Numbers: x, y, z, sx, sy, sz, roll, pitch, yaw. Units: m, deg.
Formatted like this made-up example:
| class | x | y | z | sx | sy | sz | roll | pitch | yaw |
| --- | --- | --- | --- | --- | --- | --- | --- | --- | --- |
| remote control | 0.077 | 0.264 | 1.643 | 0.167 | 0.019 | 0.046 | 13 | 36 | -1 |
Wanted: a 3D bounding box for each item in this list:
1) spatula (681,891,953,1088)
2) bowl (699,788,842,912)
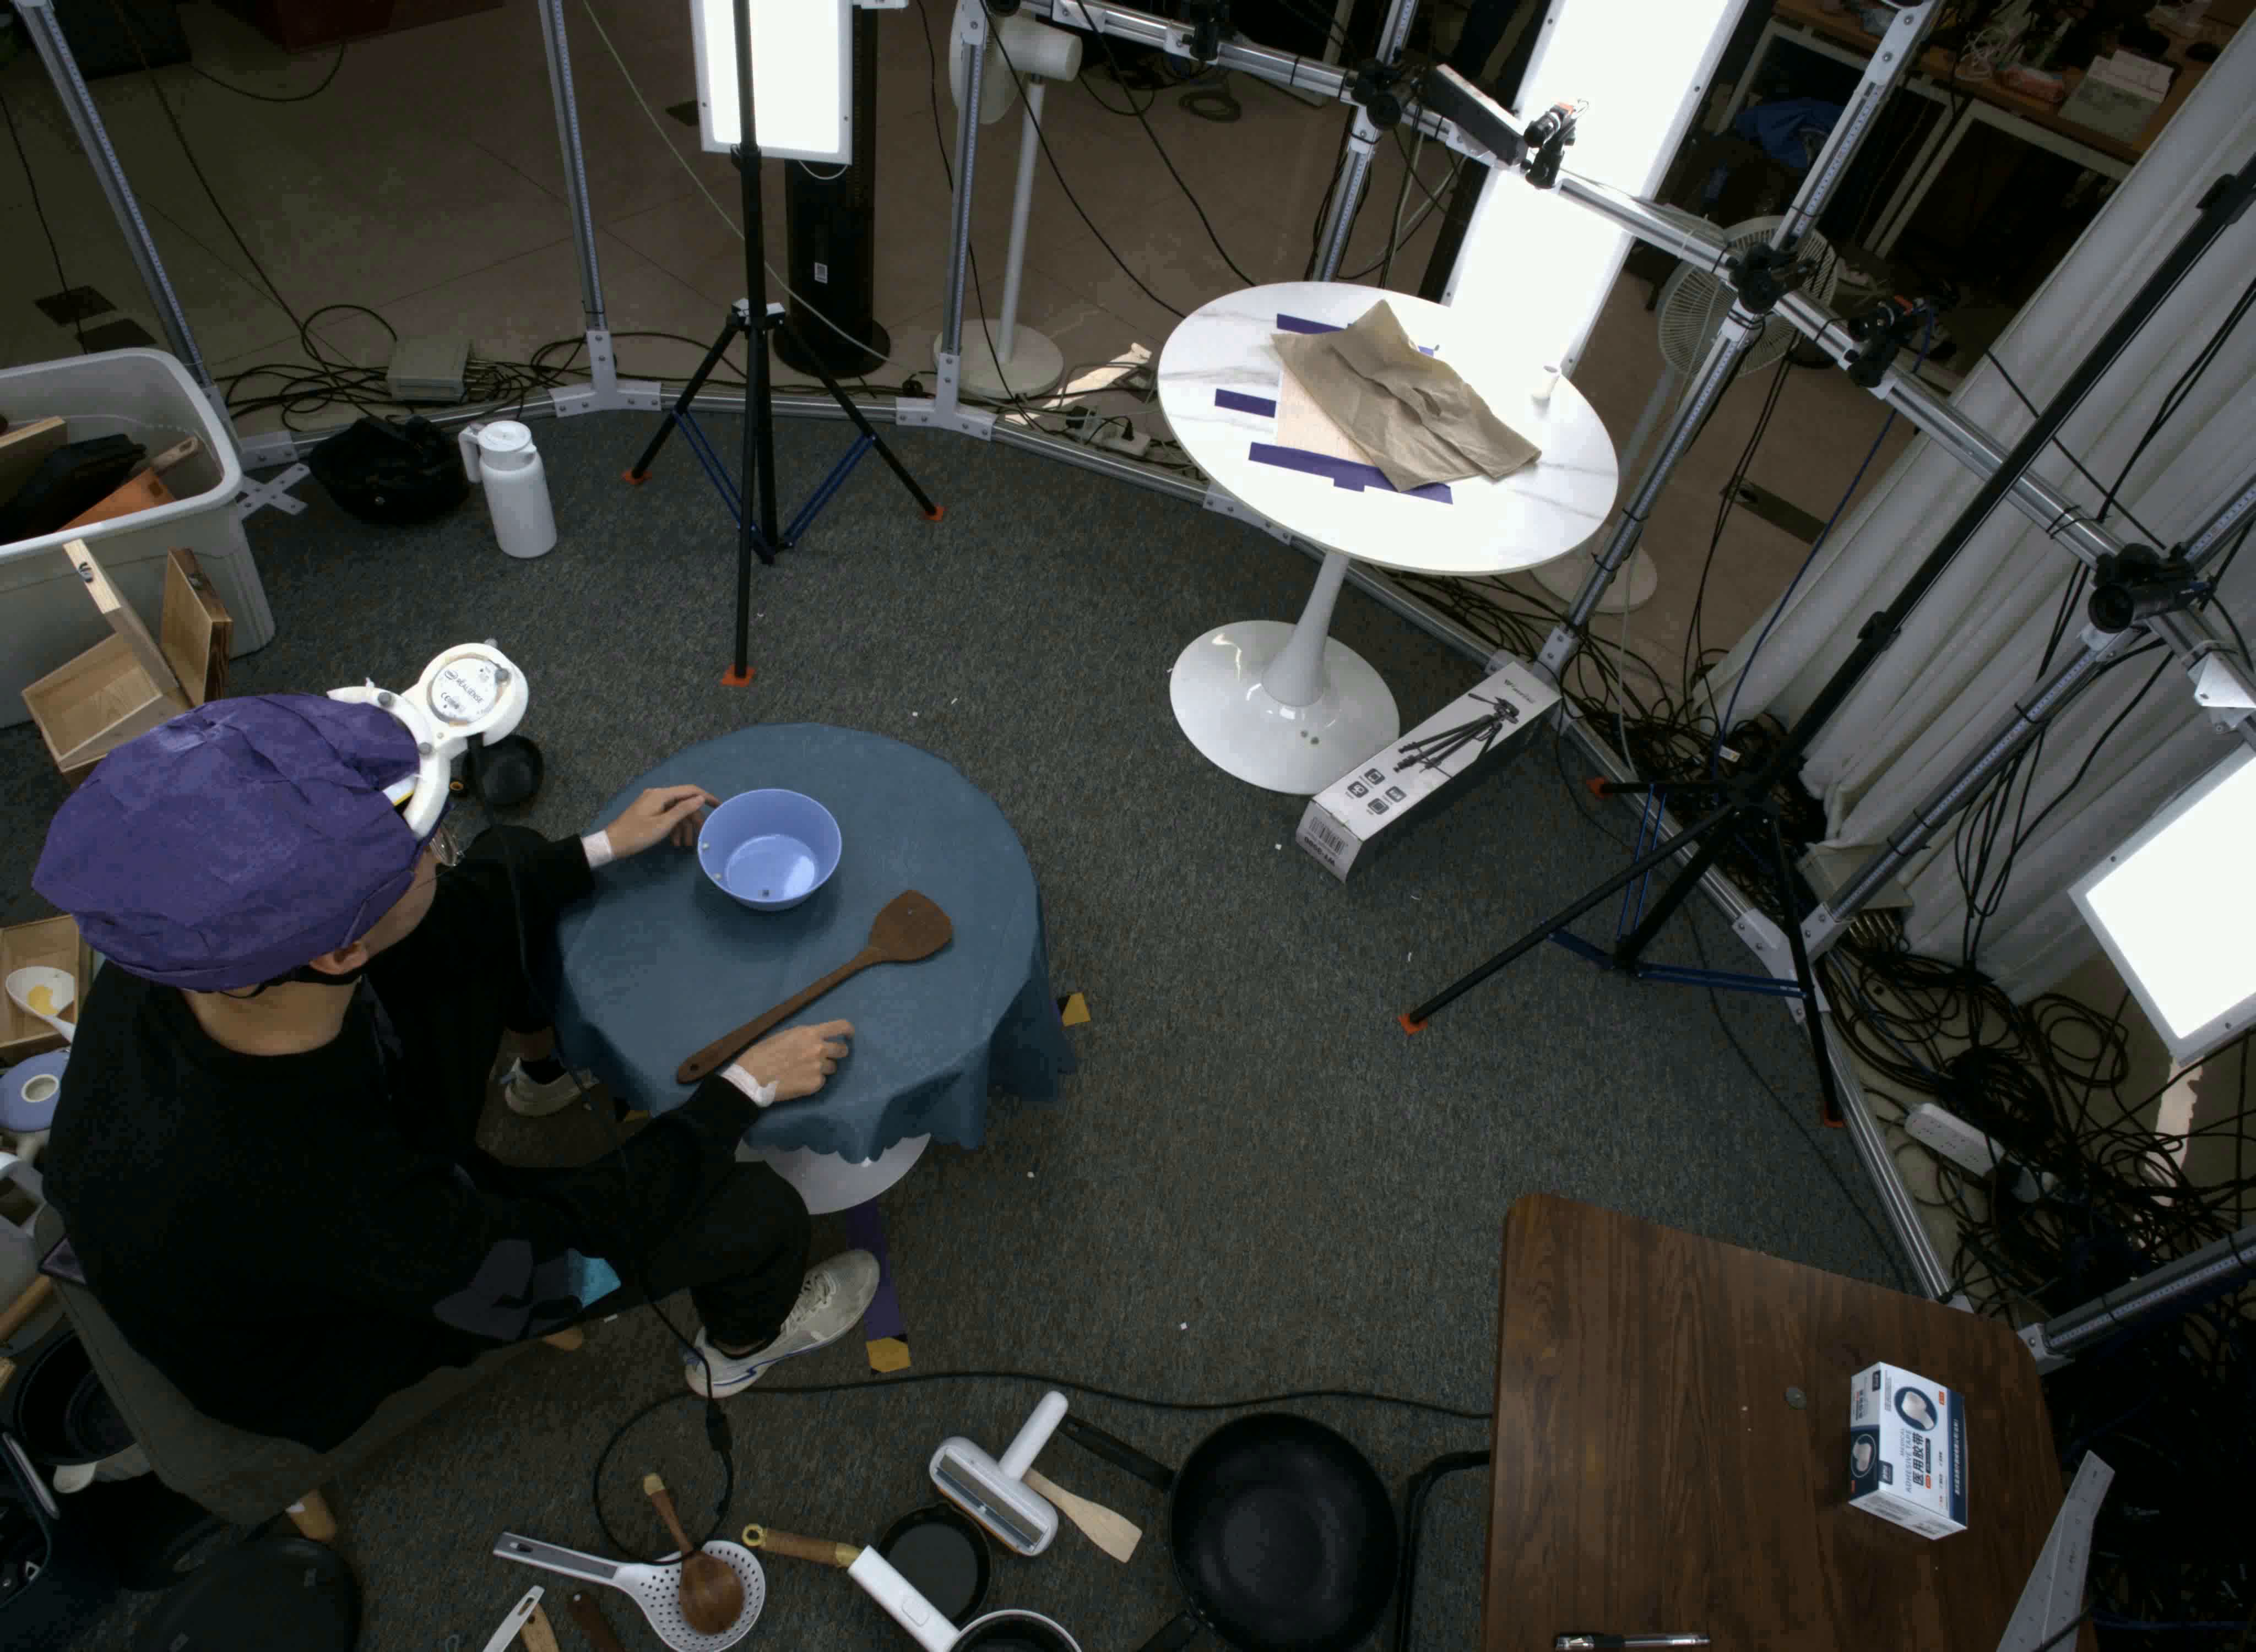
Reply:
| class | x | y | z | sx | sy | sz | roll | pitch | yaw |
| --- | --- | --- | --- | --- | --- | --- | --- | --- | --- |
| spatula | -0.380 | 0.199 | 1.583 | 0.387 | 0.016 | 0.094 | -35 | 68 | -32 |
| bowl | -0.452 | 0.040 | 1.647 | 0.175 | 0.072 | 0.173 | 7 | 53 | -7 |
